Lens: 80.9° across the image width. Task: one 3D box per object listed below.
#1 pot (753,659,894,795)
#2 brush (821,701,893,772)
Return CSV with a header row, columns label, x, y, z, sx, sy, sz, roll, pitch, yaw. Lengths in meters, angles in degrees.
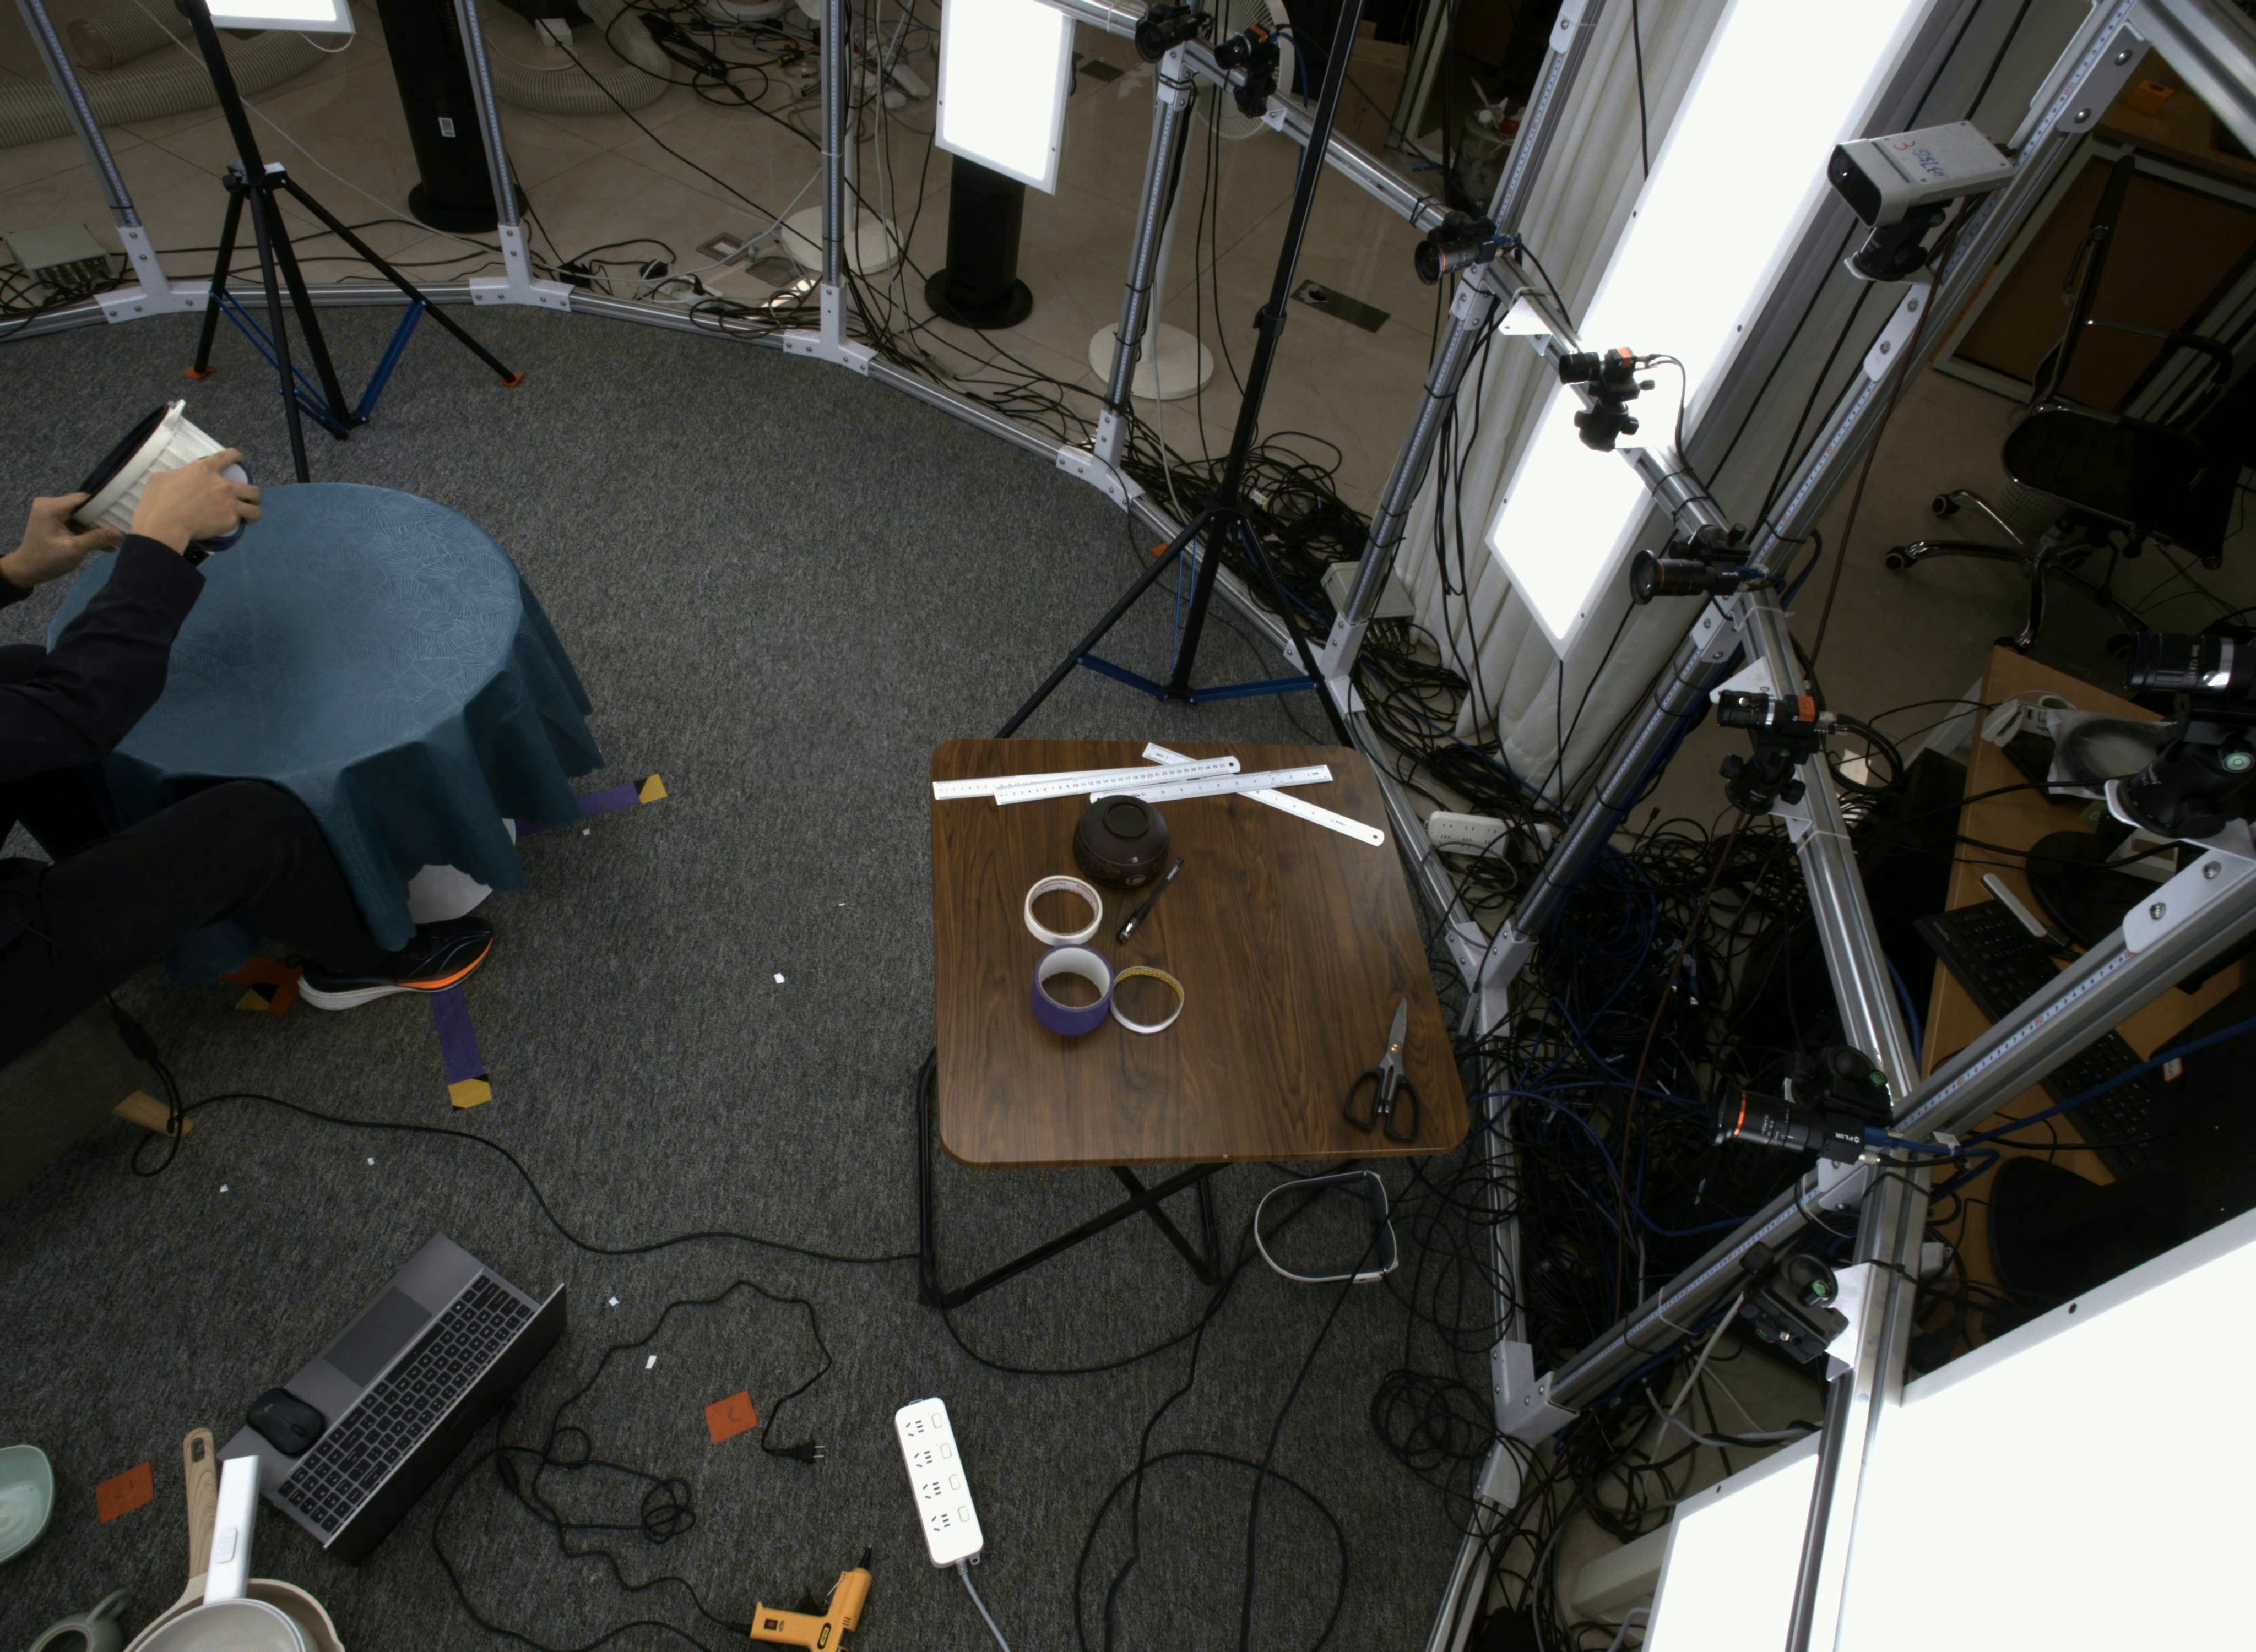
label,x,y,z,sx,sy,sz,roll,pitch,yaw
pot,-0.457,-0.140,2.003,0.237,0.144,0.191,-28,3,19
brush,-0.395,-0.129,1.883,0.060,0.069,0.121,-22,22,51
